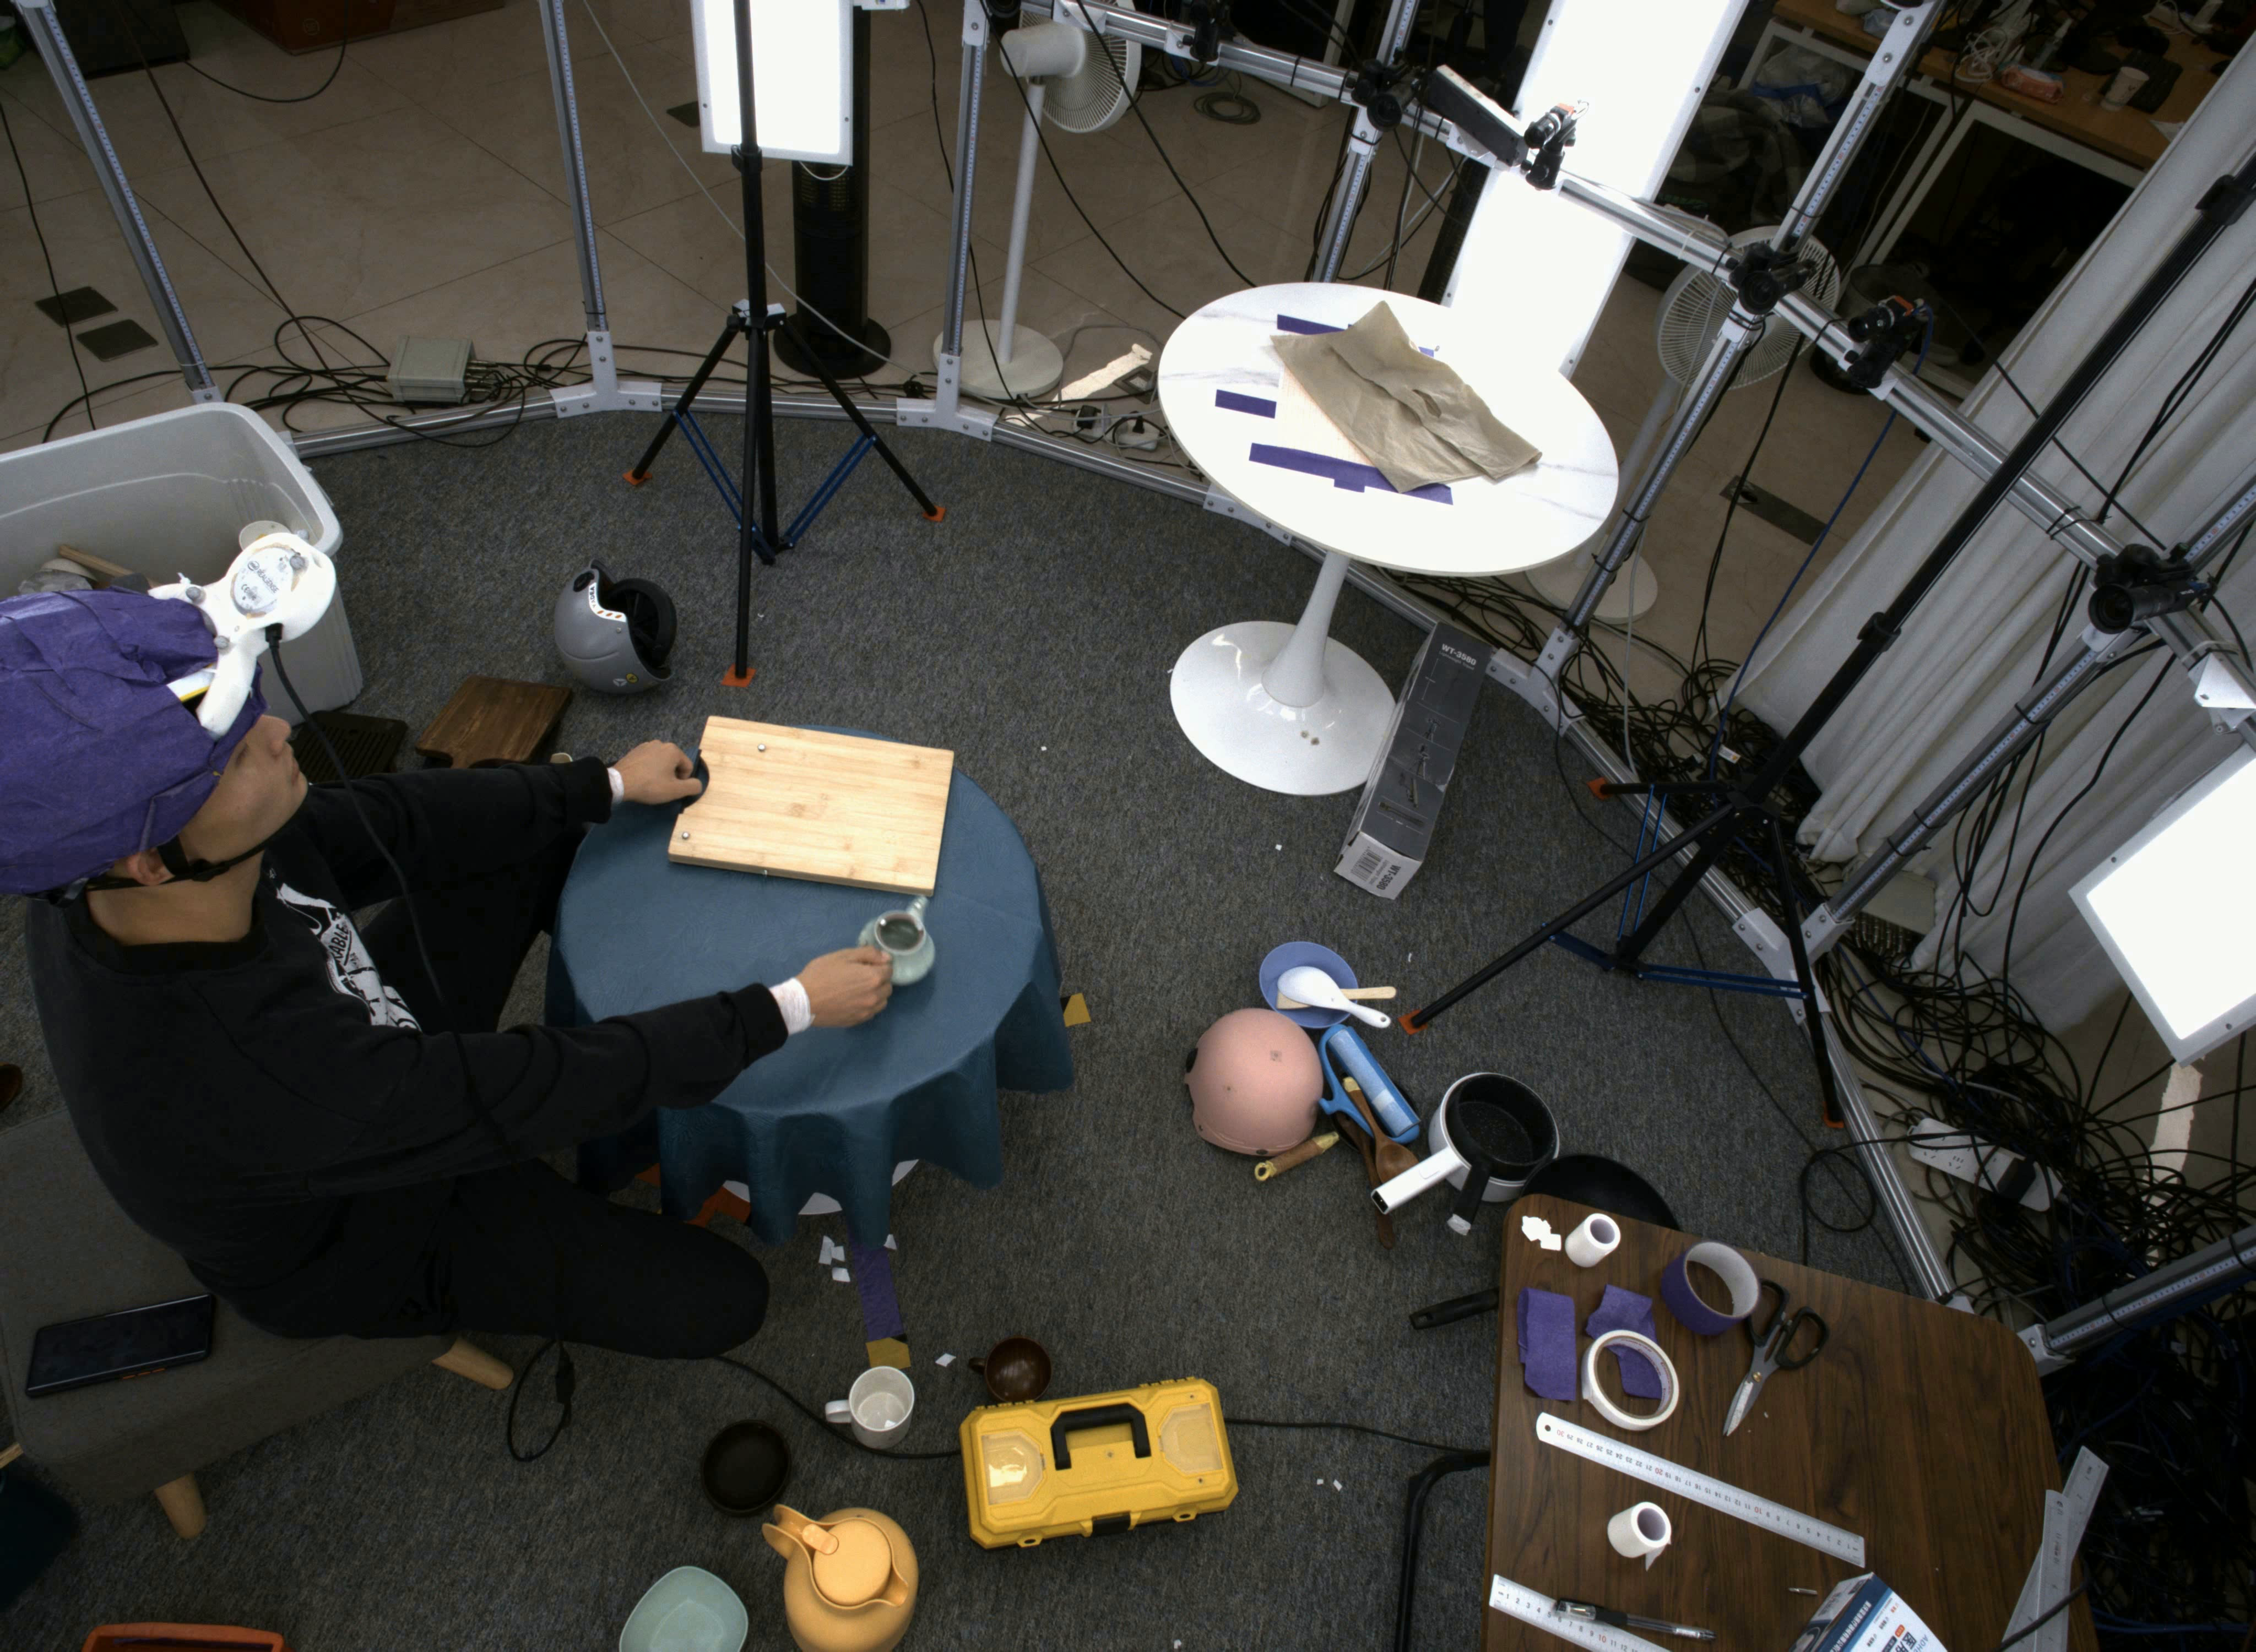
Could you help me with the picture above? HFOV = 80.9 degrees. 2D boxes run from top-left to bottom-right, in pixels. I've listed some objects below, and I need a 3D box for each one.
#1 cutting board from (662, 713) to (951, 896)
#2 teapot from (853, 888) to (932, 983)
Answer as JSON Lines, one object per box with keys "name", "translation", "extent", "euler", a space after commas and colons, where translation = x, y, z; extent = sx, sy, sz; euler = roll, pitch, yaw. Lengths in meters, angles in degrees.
{"name": "cutting board", "translation": [-0.420, -0.032, 1.731], "extent": [0.348, 0.024, 0.246], "euler": [8, 52, -11]}
{"name": "teapot", "translation": [-0.285, 0.139, 1.579], "extent": [0.096, 0.062, 0.135], "euler": [25, 45, -3]}
